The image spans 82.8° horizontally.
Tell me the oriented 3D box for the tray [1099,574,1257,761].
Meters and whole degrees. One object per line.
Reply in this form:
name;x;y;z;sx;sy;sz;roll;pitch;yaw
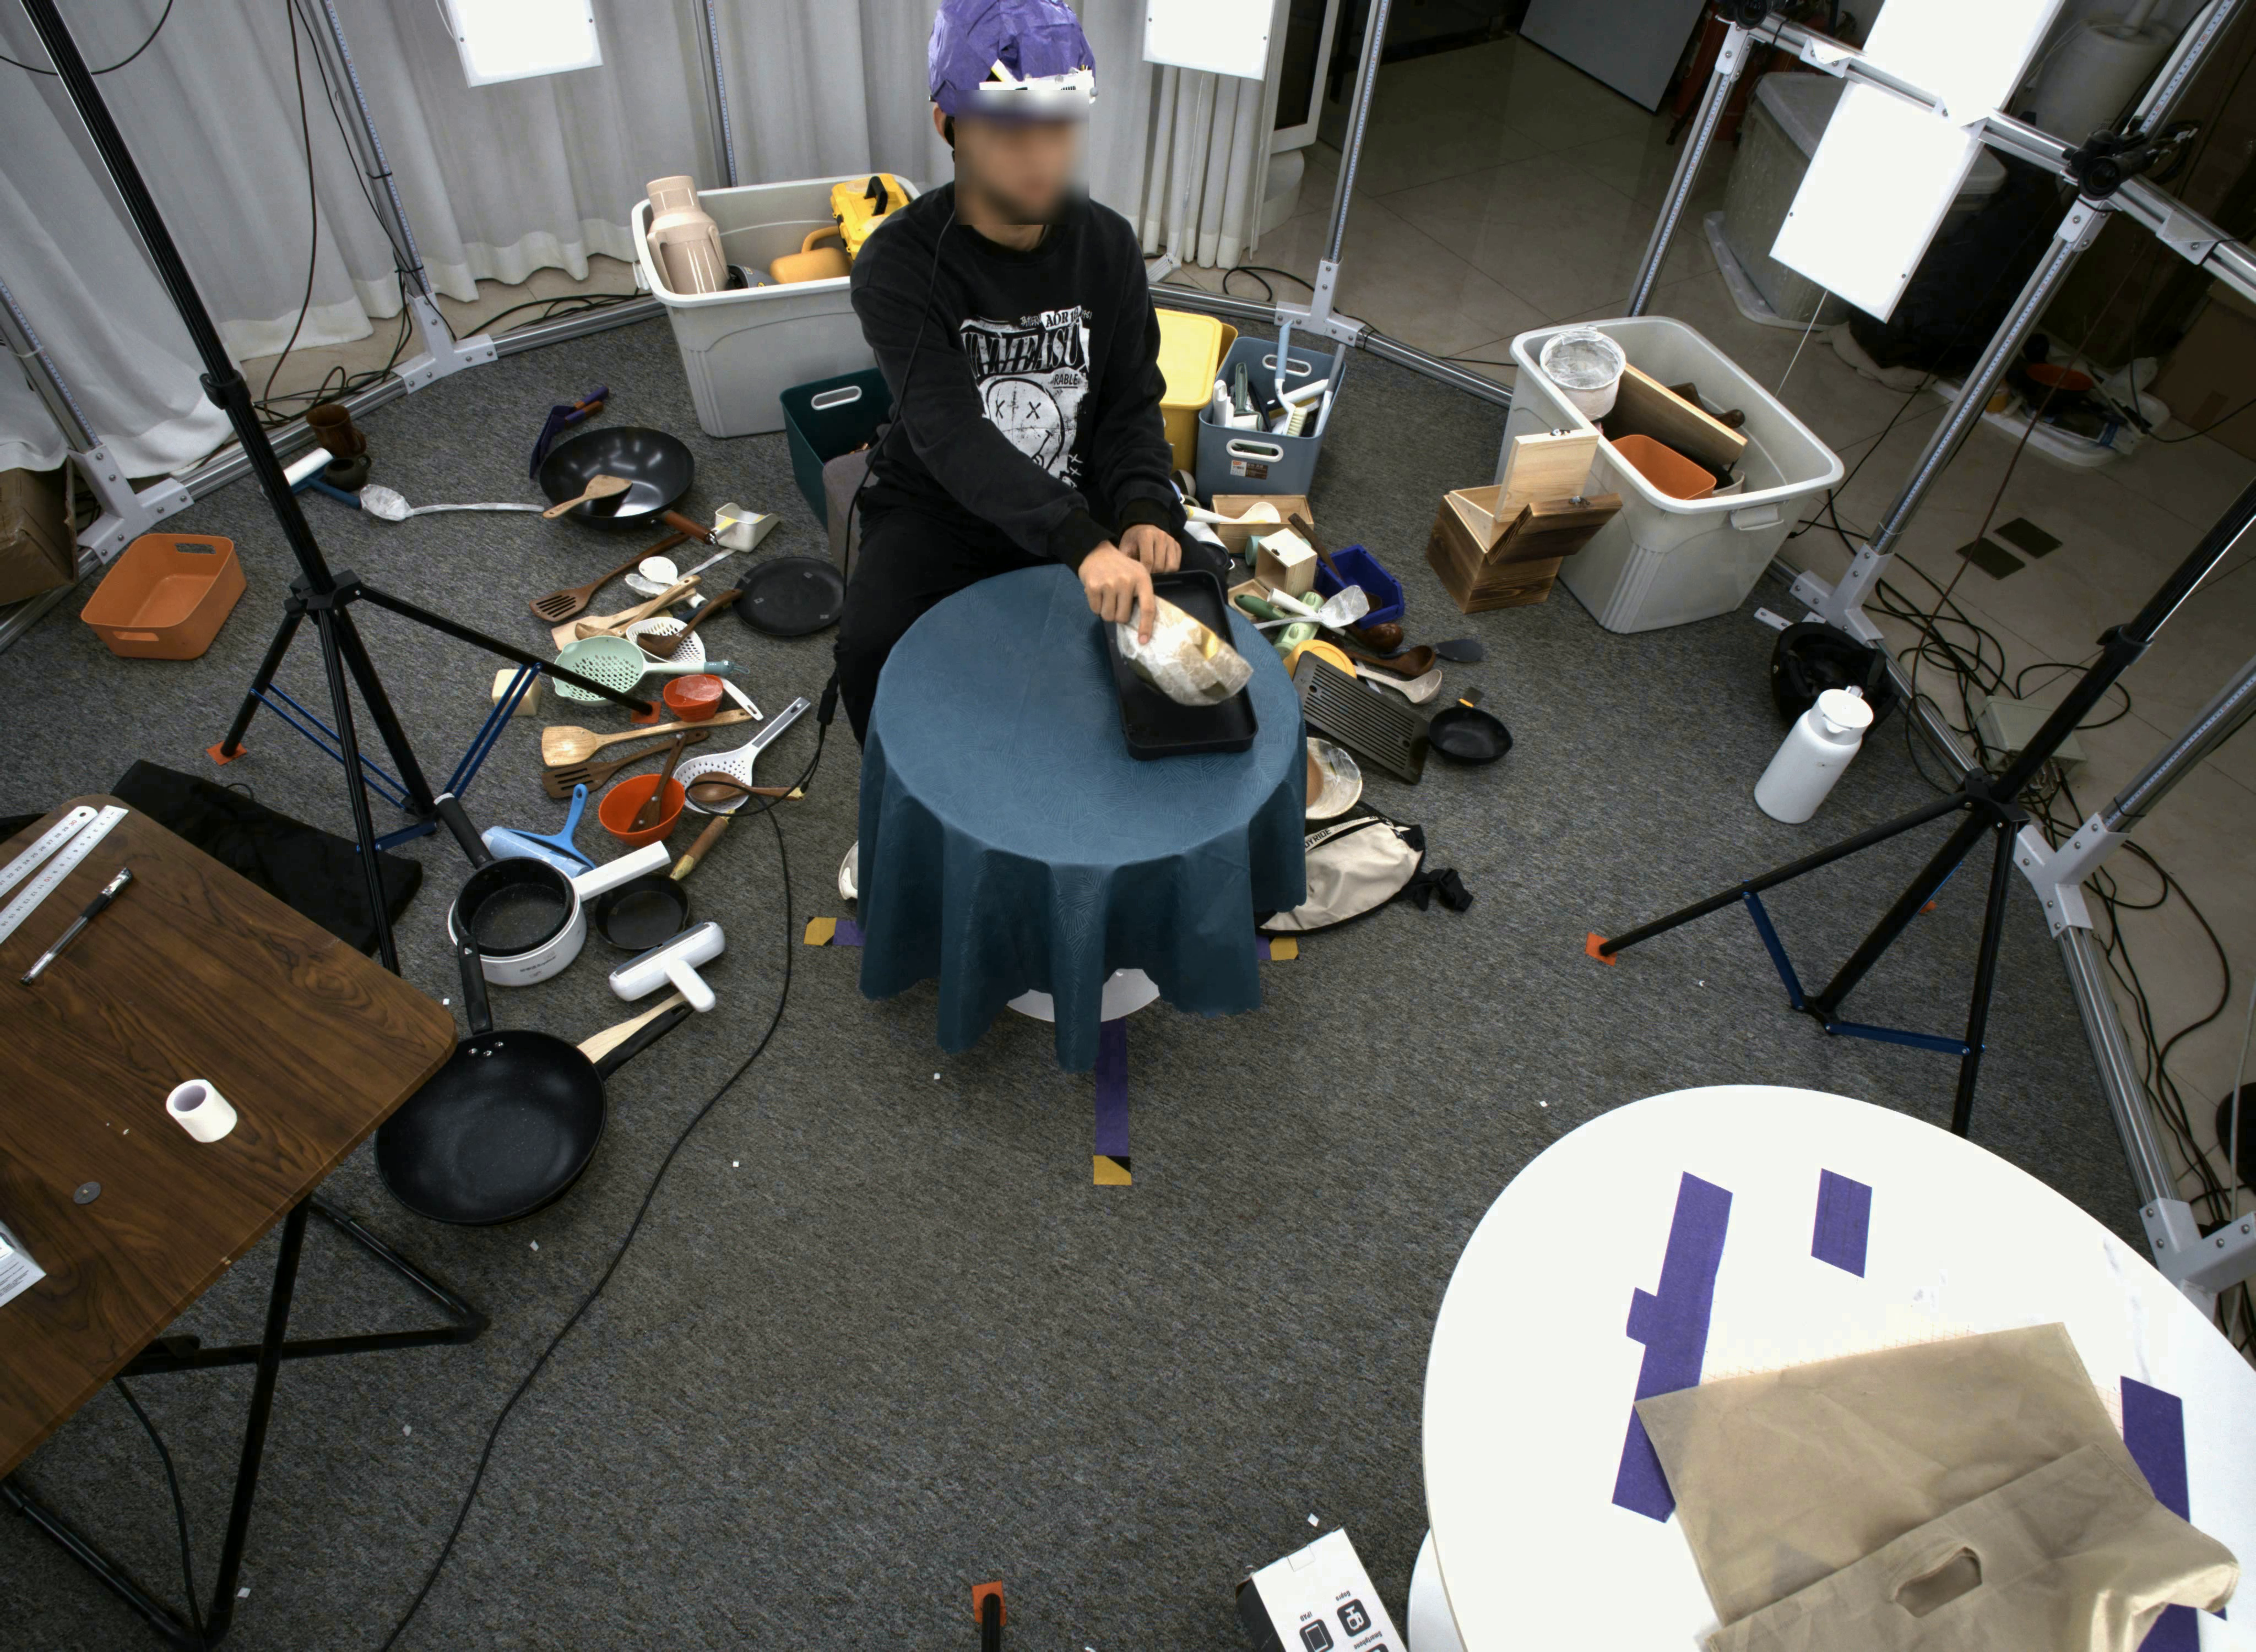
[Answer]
tray;0.067;-0.233;1.847;0.184;0.036;0.326;-6;55;-6

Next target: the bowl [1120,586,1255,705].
bowl;0.062;-0.230;1.746;0.217;0.212;0.094;36;90;23
